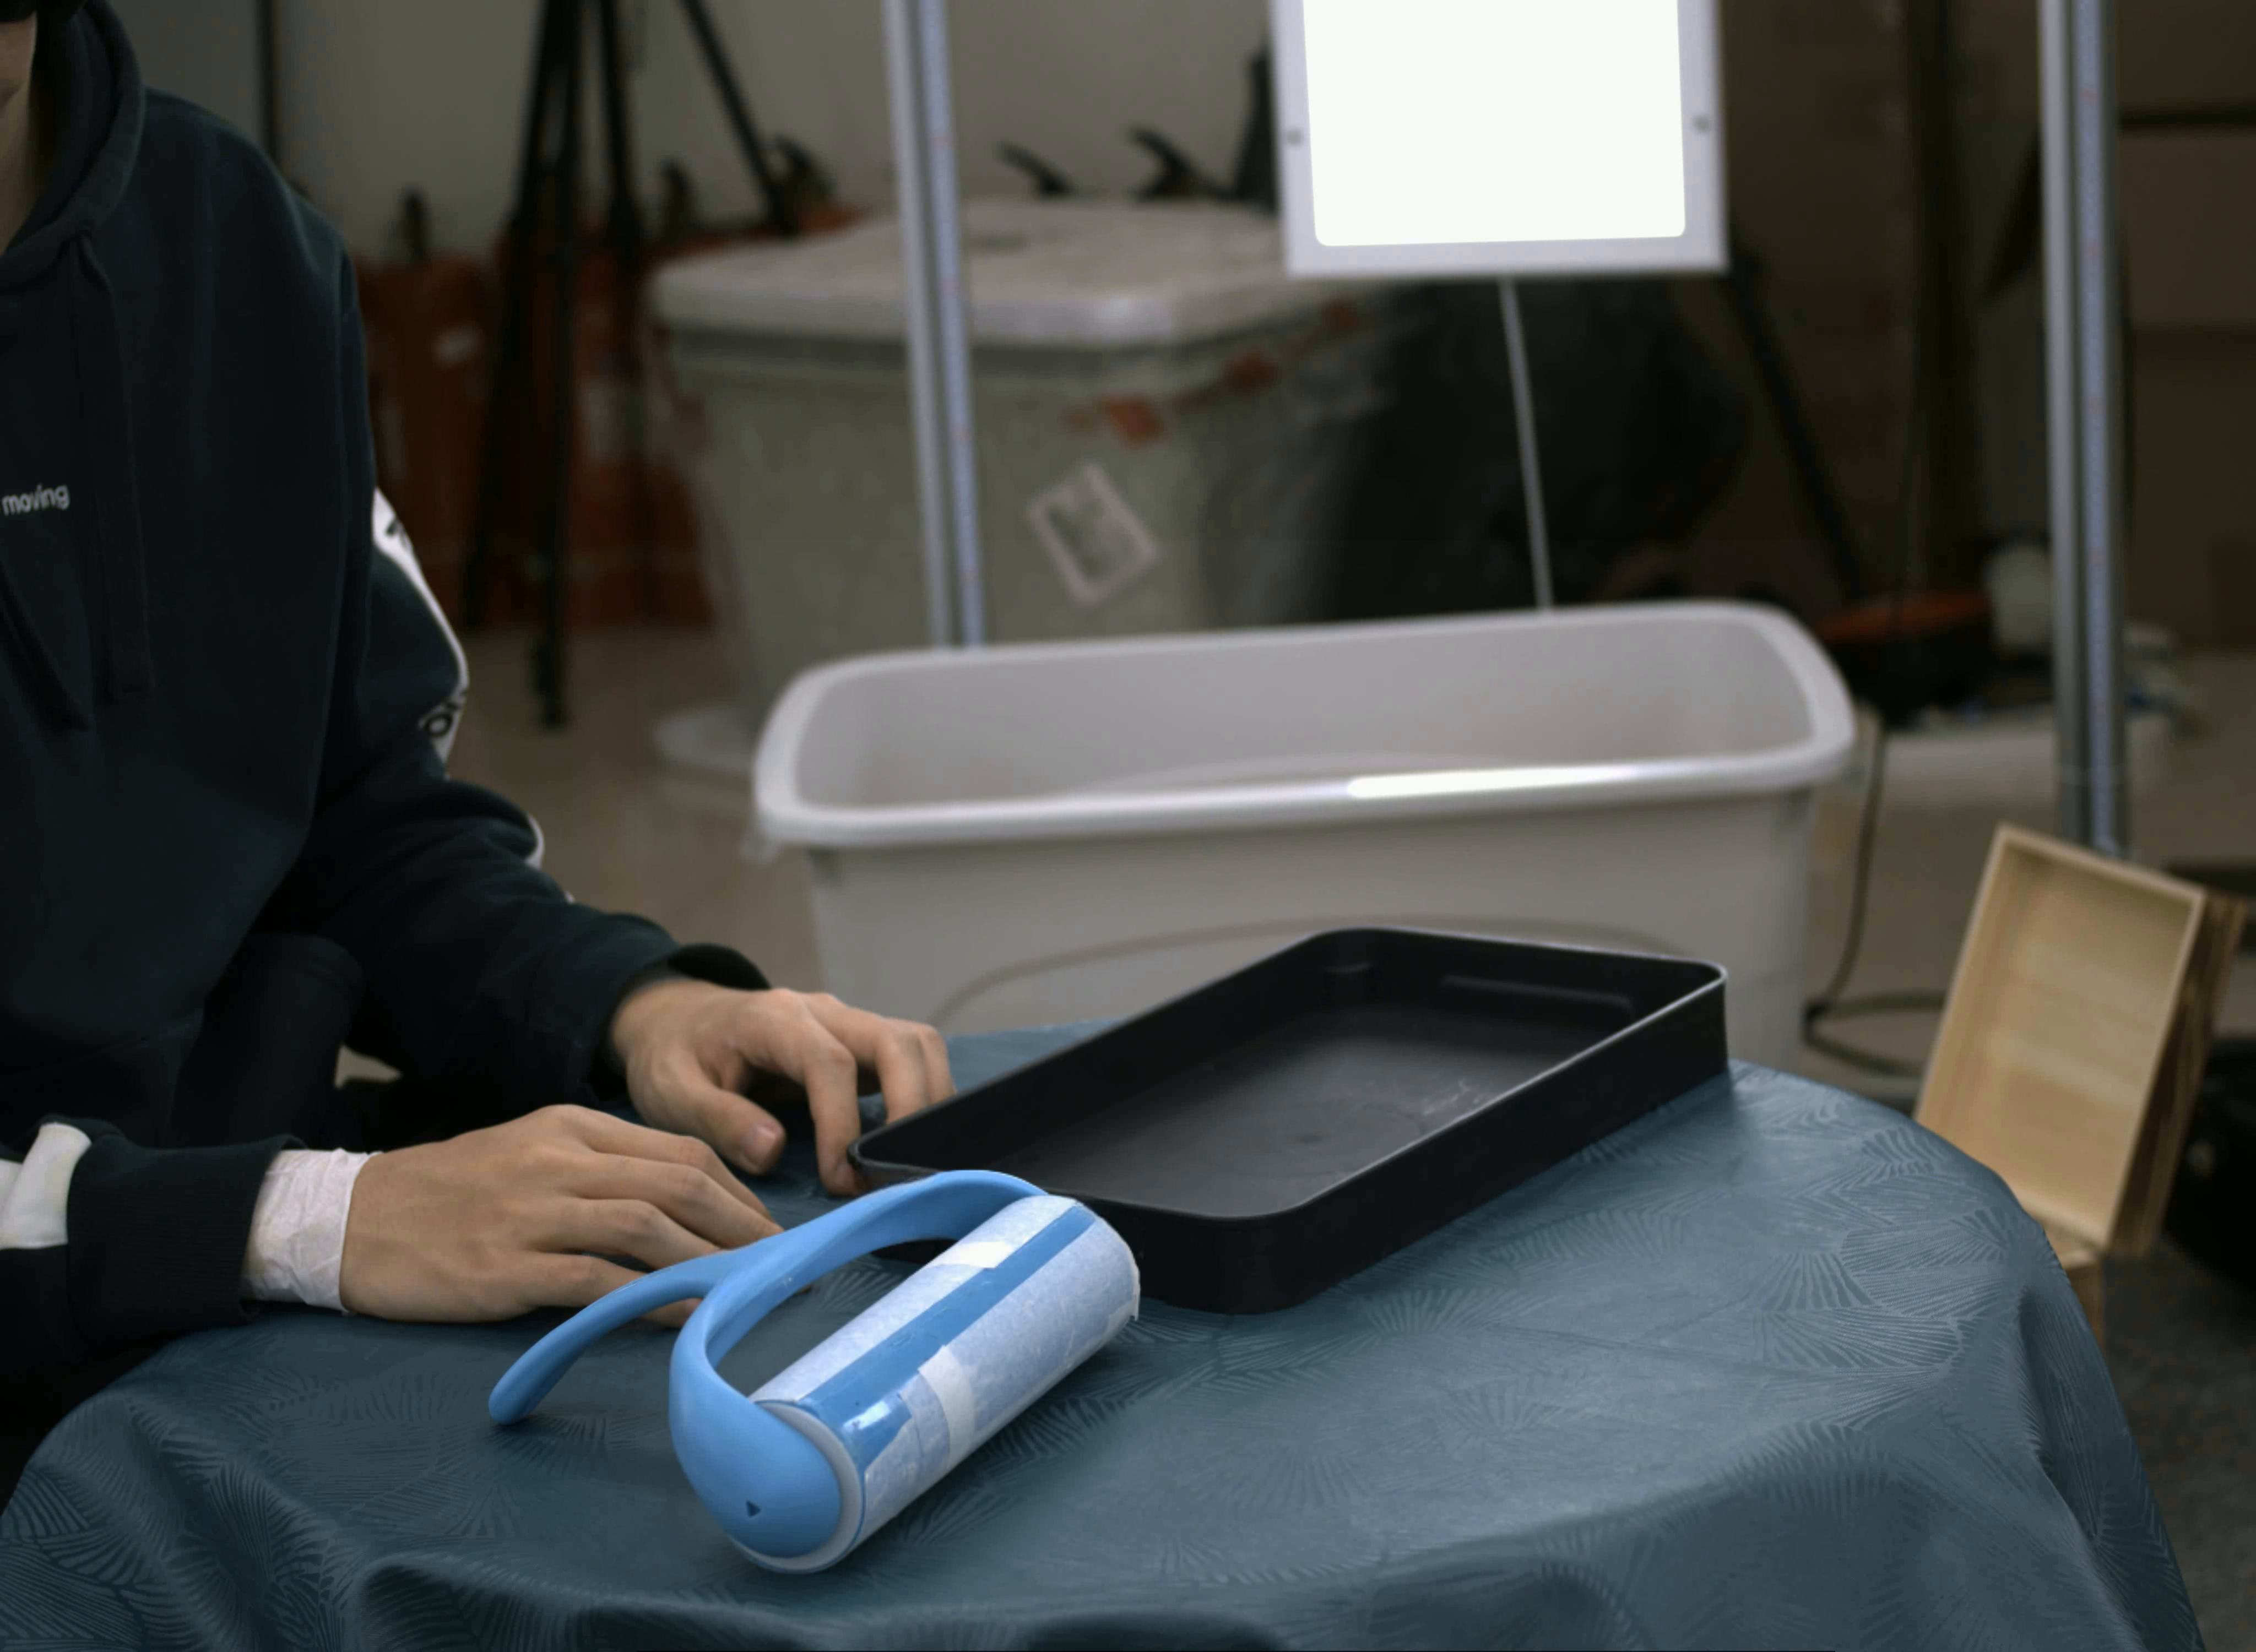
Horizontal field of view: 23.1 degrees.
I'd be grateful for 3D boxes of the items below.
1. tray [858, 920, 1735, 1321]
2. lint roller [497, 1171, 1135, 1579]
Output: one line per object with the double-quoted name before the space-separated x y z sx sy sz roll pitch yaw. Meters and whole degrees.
"tray" 0.066 0.097 1.921 0.188 0.037 0.310 4 18 36
"lint roller" -0.114 0.161 1.675 0.183 0.068 0.224 2 17 22
